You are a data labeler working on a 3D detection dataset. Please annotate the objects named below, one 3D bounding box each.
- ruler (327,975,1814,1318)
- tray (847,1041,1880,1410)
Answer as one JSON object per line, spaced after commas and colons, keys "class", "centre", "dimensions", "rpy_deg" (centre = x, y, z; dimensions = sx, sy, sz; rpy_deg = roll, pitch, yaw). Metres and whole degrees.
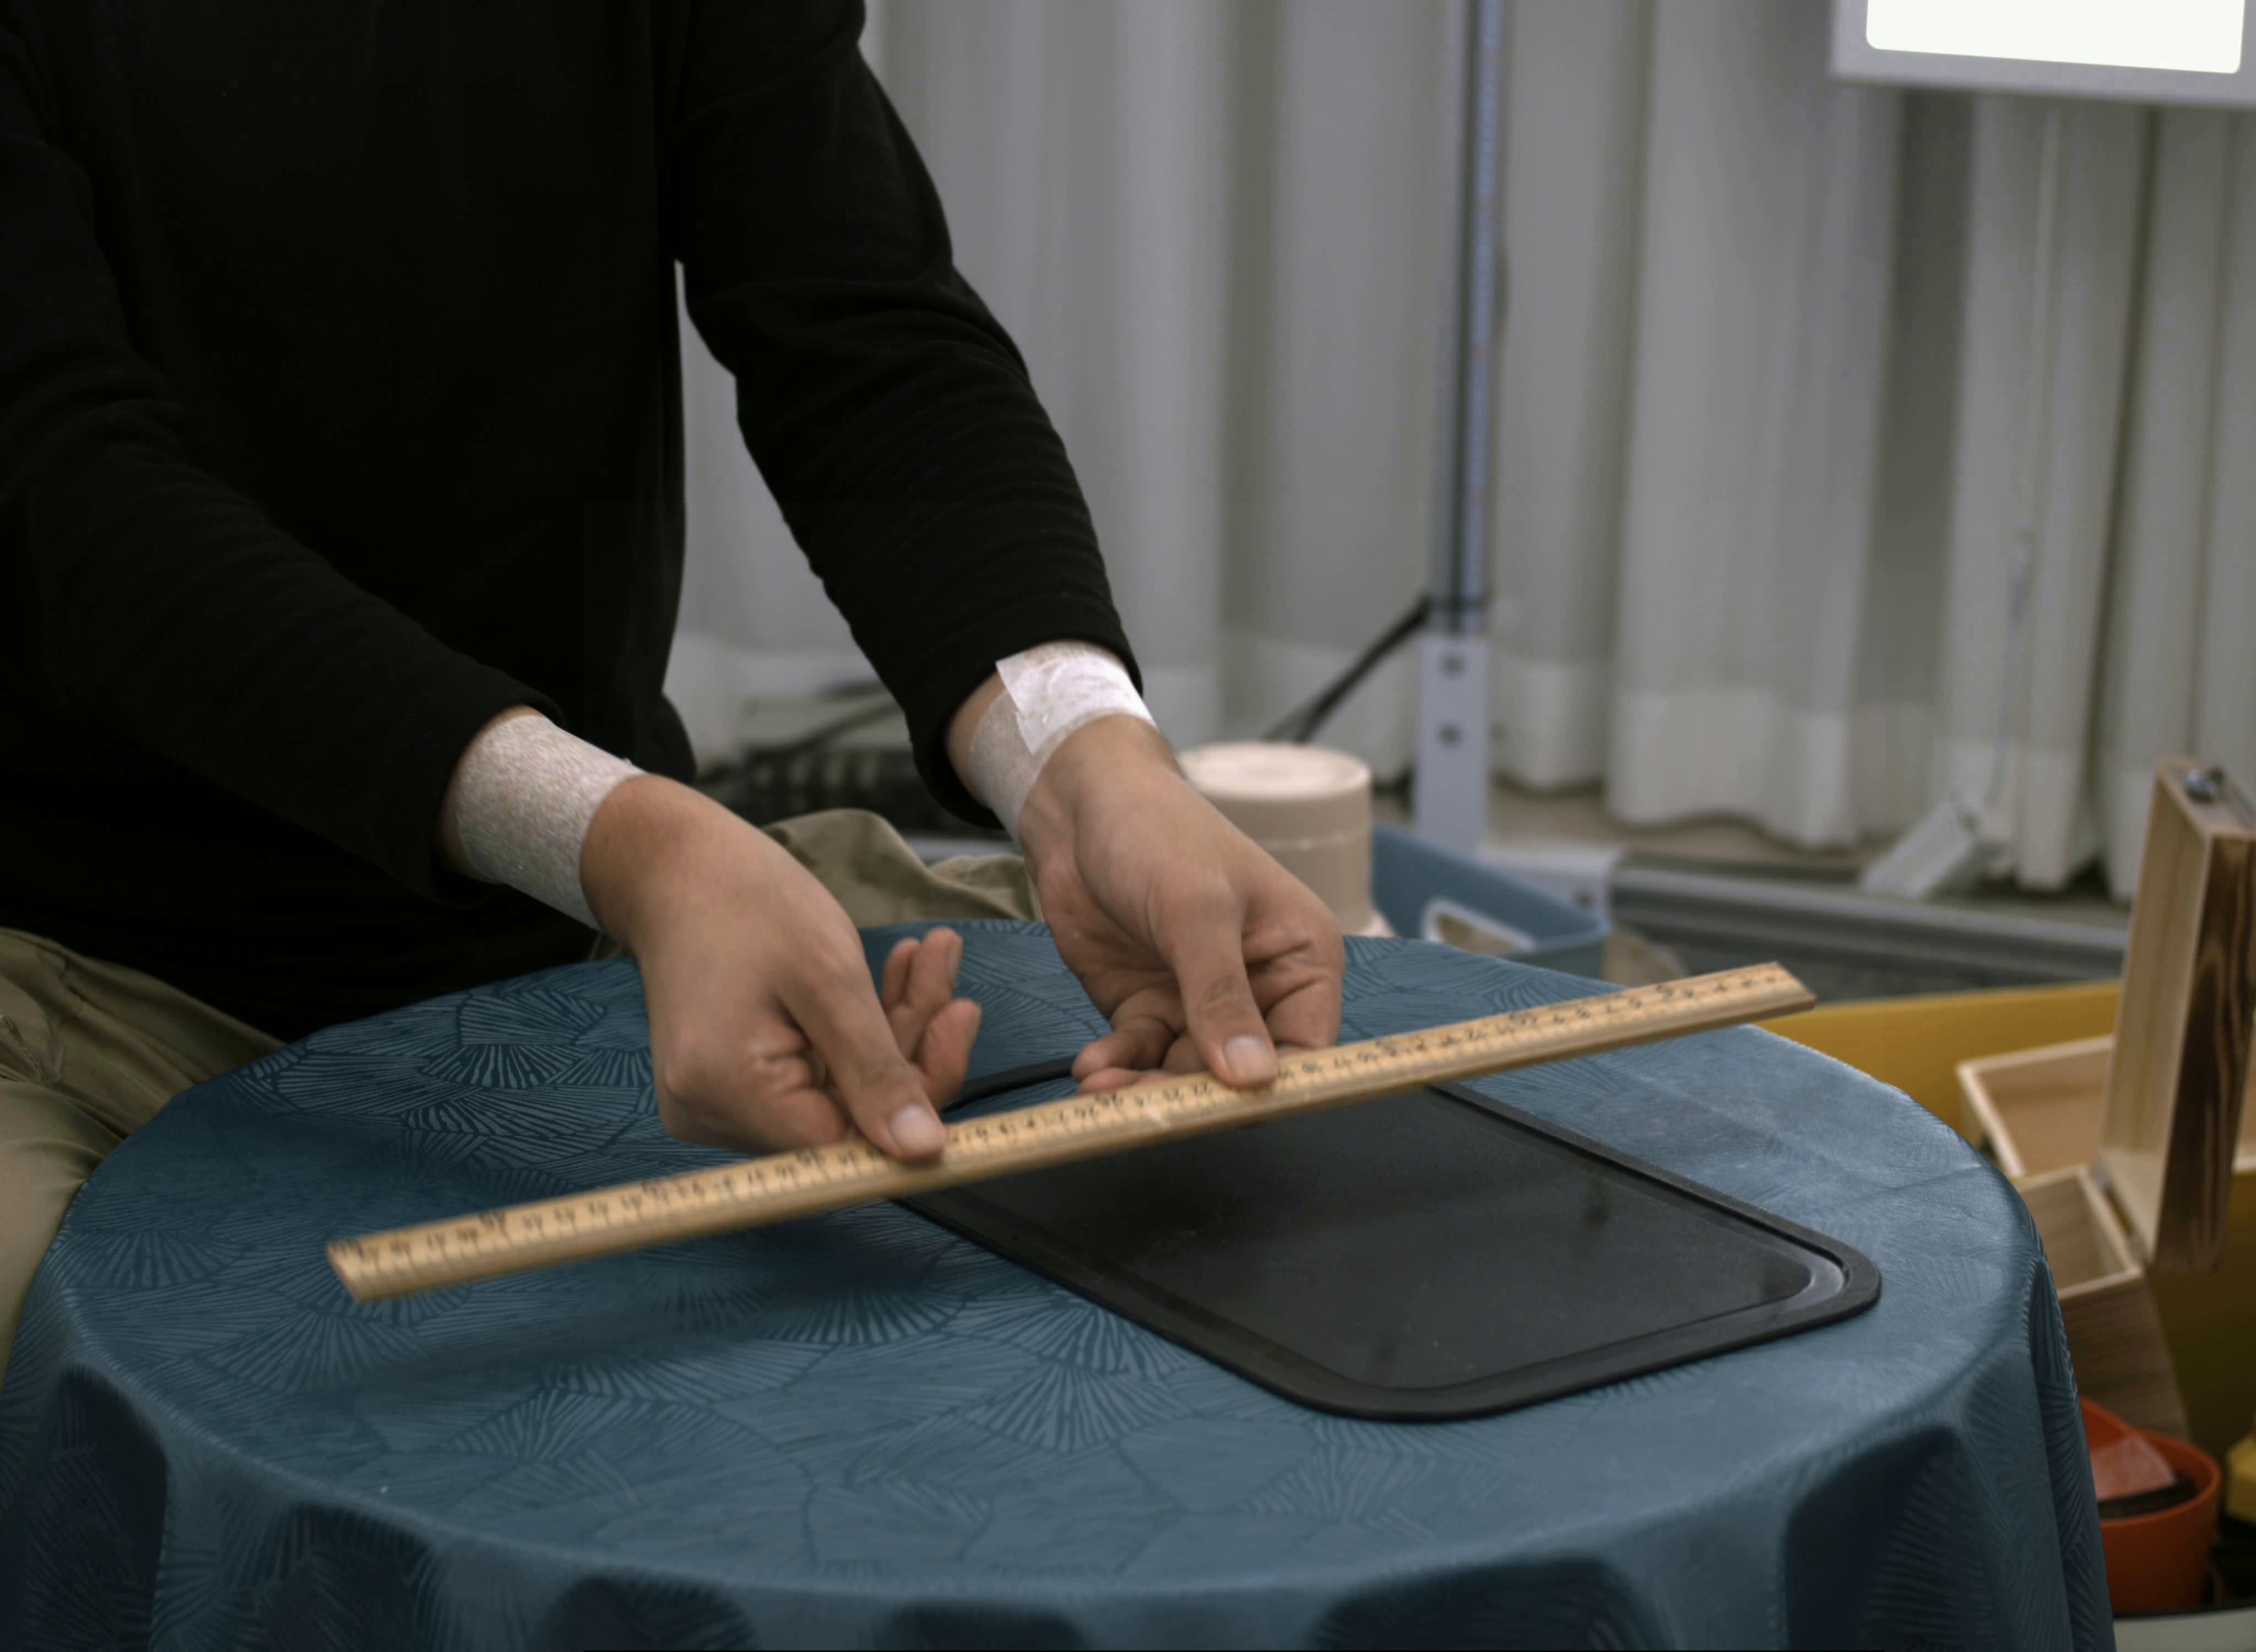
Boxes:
{"class": "ruler", "centre": [-0.002, 0.091, 1.570], "dimensions": [0.502, 0.006, 0.026], "rpy_deg": [-10, 34, -29]}
{"class": "tray", "centre": [0.061, 0.114, 1.604], "dimensions": [0.212, 0.010, 0.321], "rpy_deg": [-10, 18, -34]}
